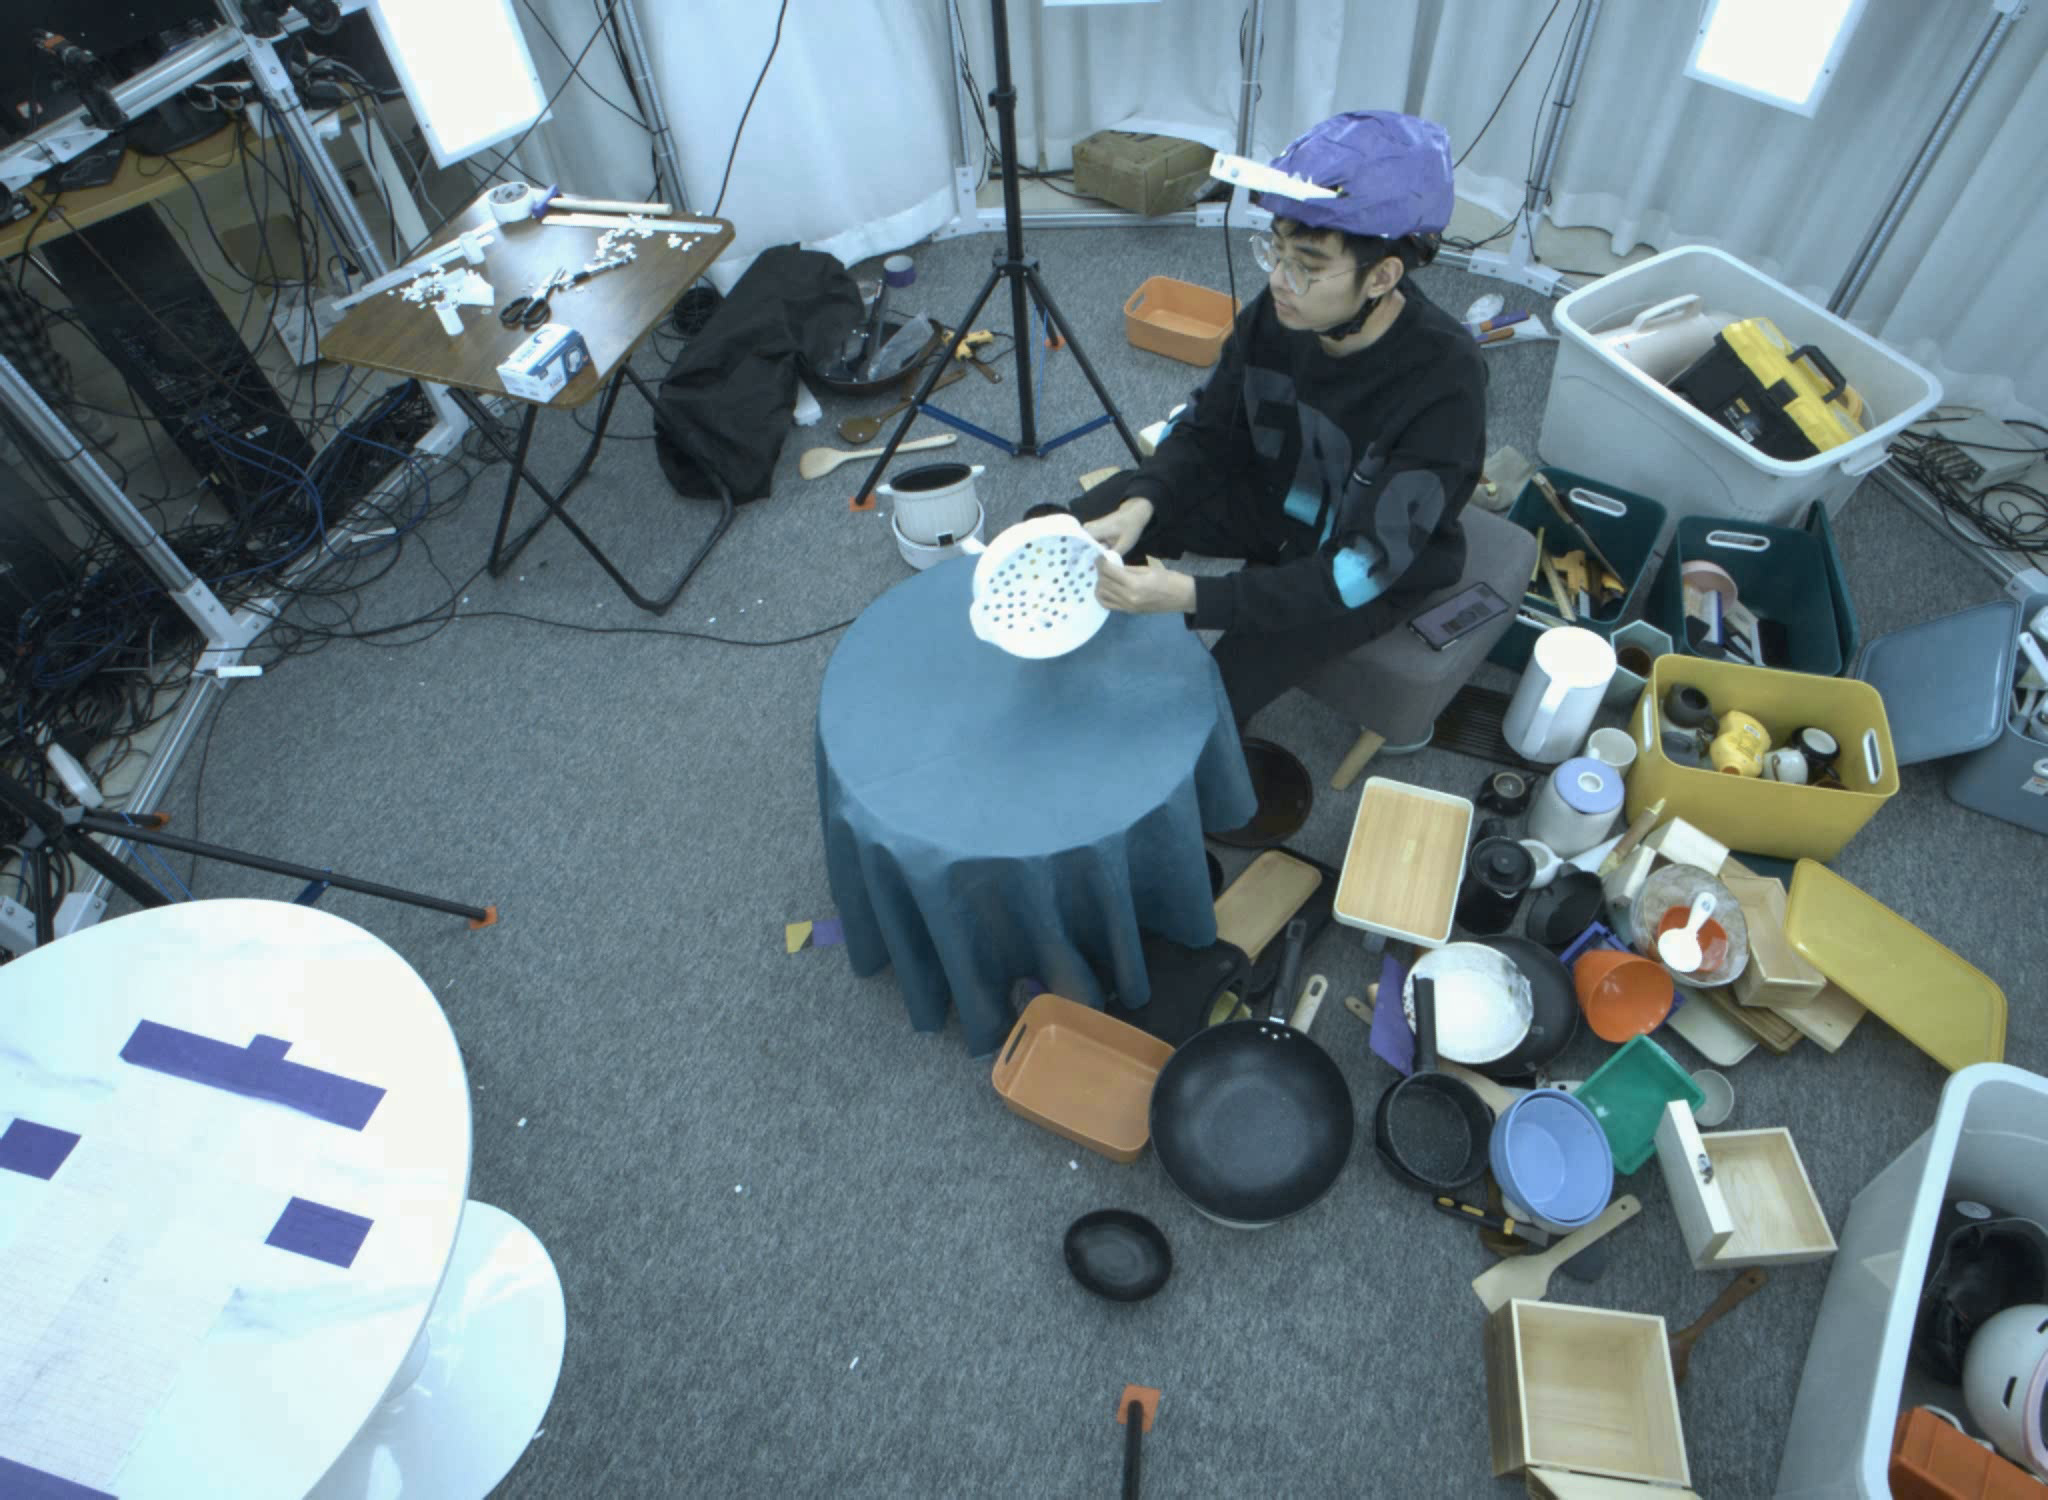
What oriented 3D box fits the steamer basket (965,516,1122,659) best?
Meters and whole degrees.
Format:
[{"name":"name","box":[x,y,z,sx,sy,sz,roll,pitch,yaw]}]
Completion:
[{"name":"steamer basket","box":[0.020,-0.230,1.729,0.231,0.205,0.068,-22,40,-7]}]

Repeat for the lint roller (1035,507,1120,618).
[{"name":"lint roller","box":[0.083,-0.284,1.837,0.195,0.194,0.072,-22,42,-35]}]
